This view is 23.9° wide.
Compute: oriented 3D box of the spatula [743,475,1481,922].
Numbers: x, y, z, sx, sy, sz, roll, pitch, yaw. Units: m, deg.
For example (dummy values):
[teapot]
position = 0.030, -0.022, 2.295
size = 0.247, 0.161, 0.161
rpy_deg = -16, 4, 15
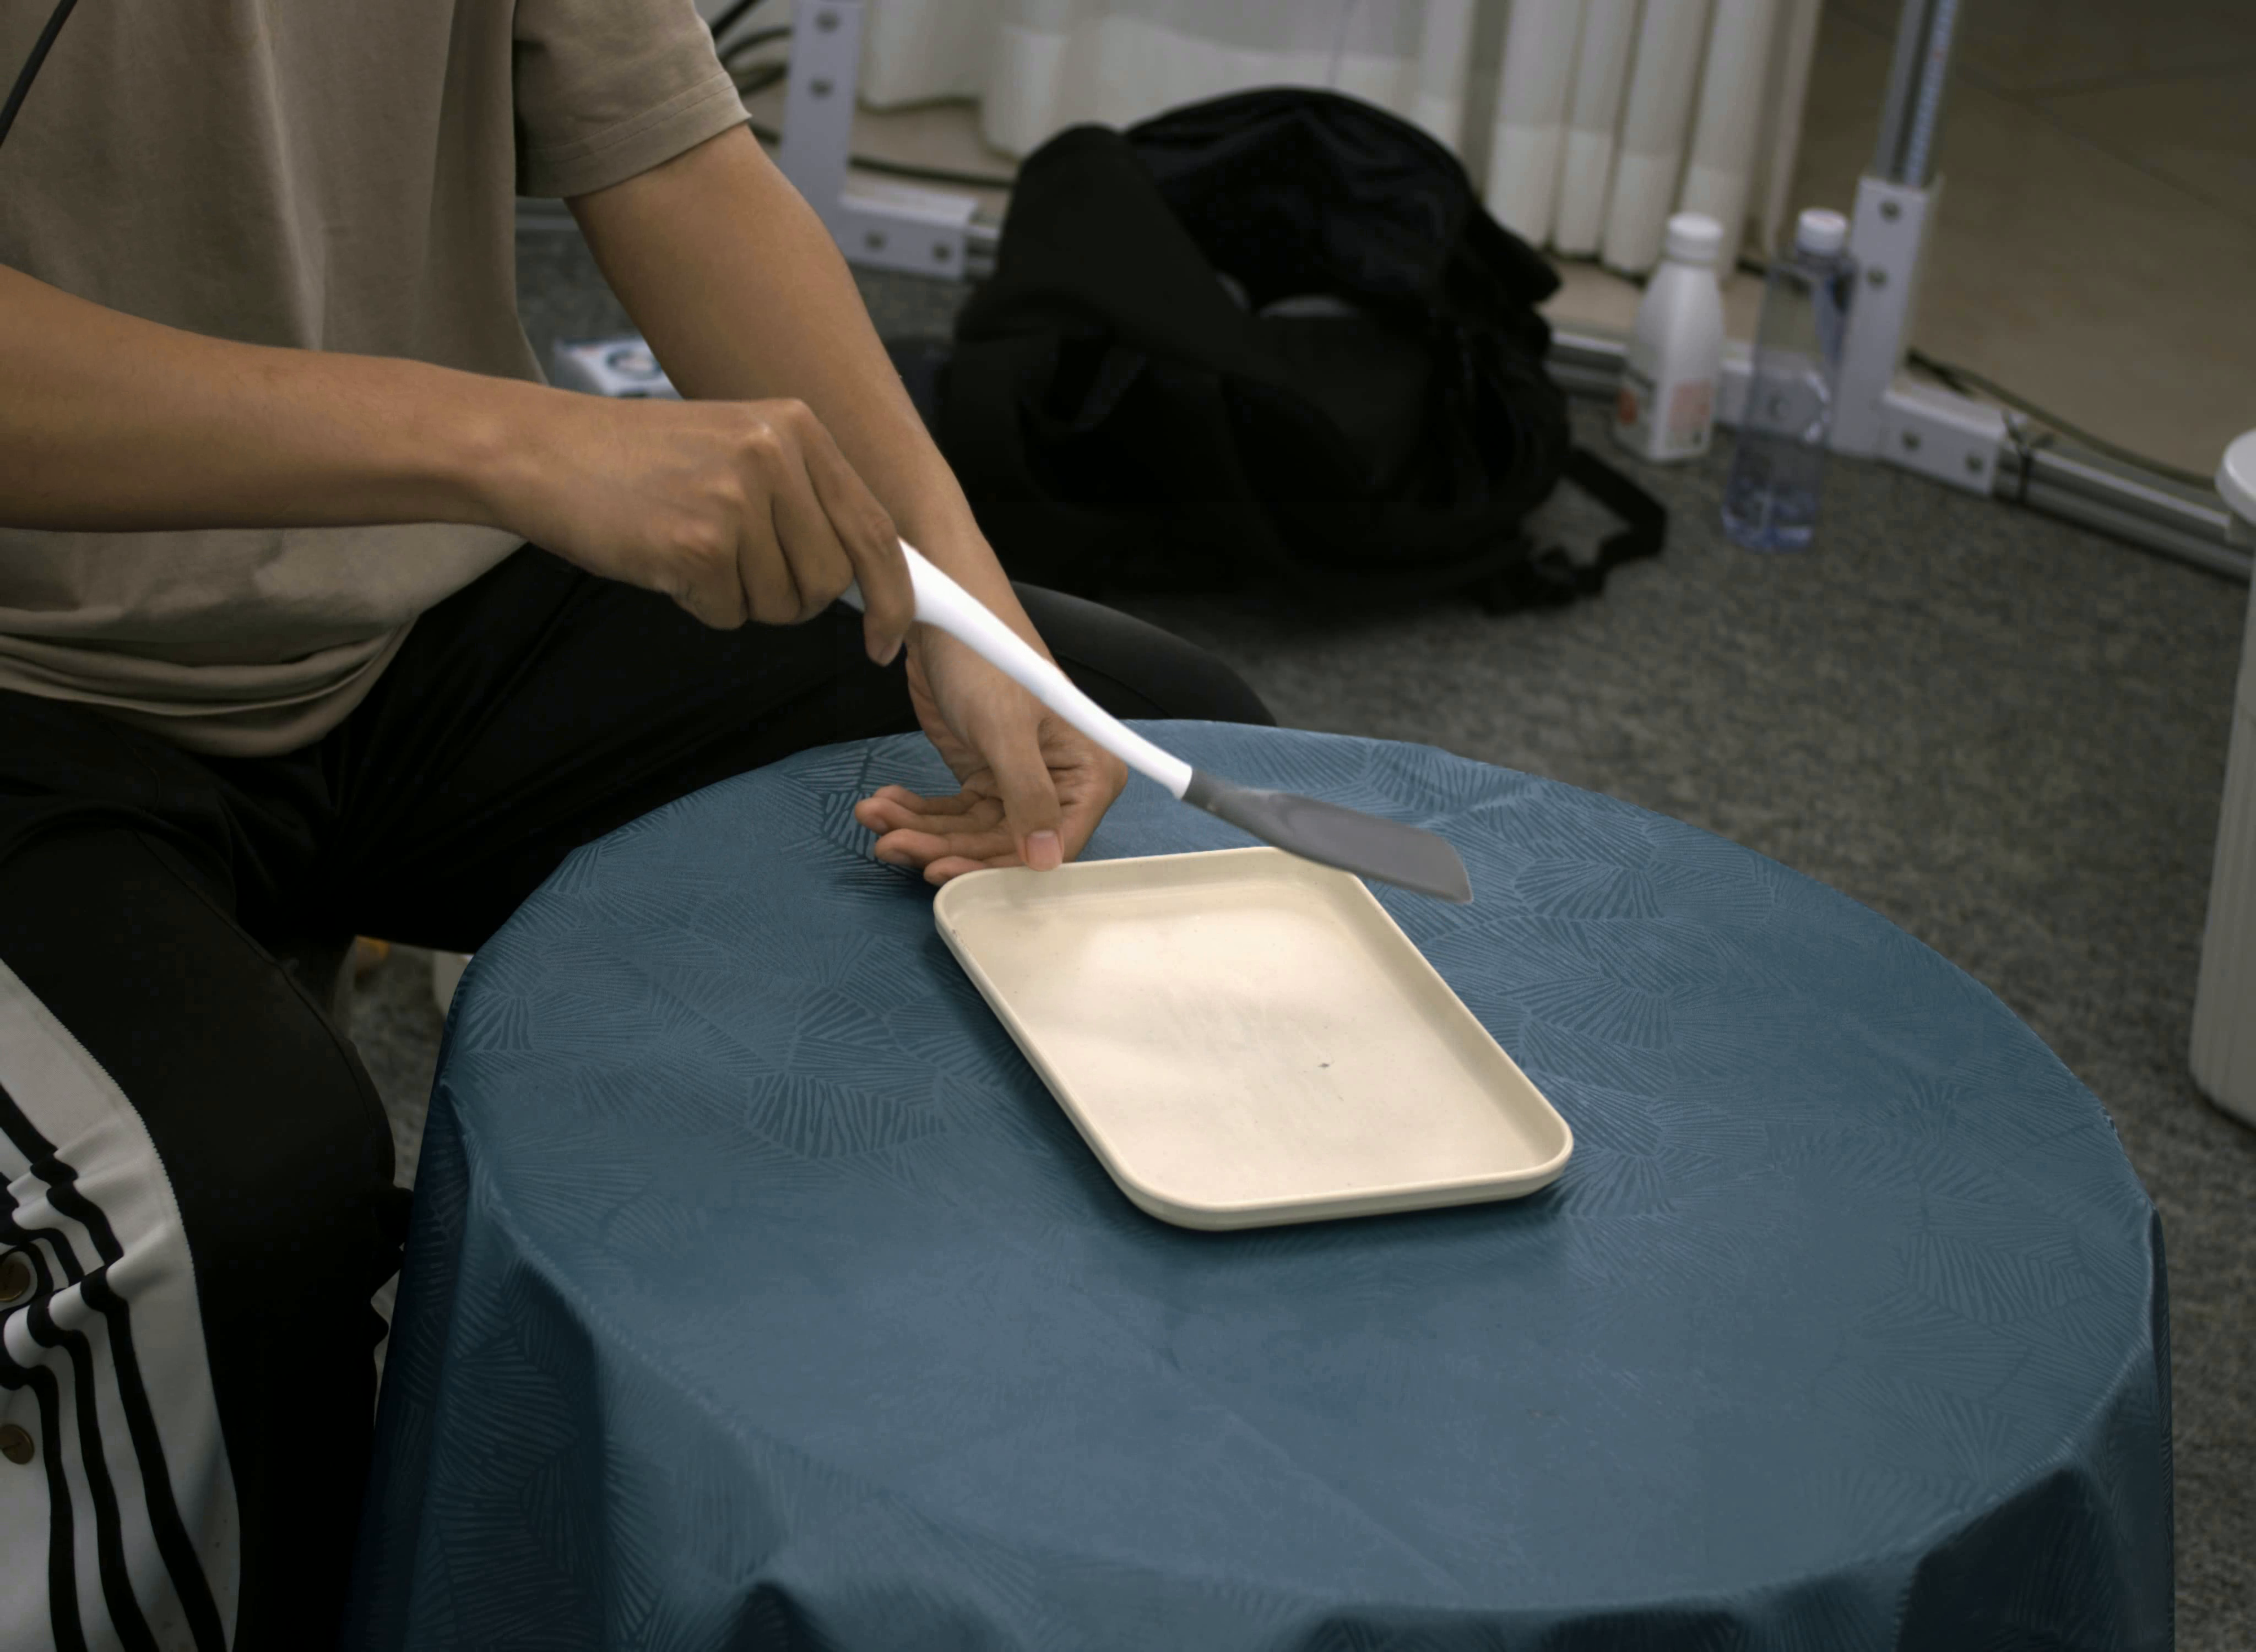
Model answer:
[spatula]
position = -0.003, -0.038, 1.827
size = 0.286, 0.032, 0.059
rpy_deg = 29, 16, -15

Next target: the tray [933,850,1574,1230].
[tray]
position = 0.041, 0.075, 1.890
size = 0.170, 0.017, 0.242
rpy_deg = -4, 29, -22
